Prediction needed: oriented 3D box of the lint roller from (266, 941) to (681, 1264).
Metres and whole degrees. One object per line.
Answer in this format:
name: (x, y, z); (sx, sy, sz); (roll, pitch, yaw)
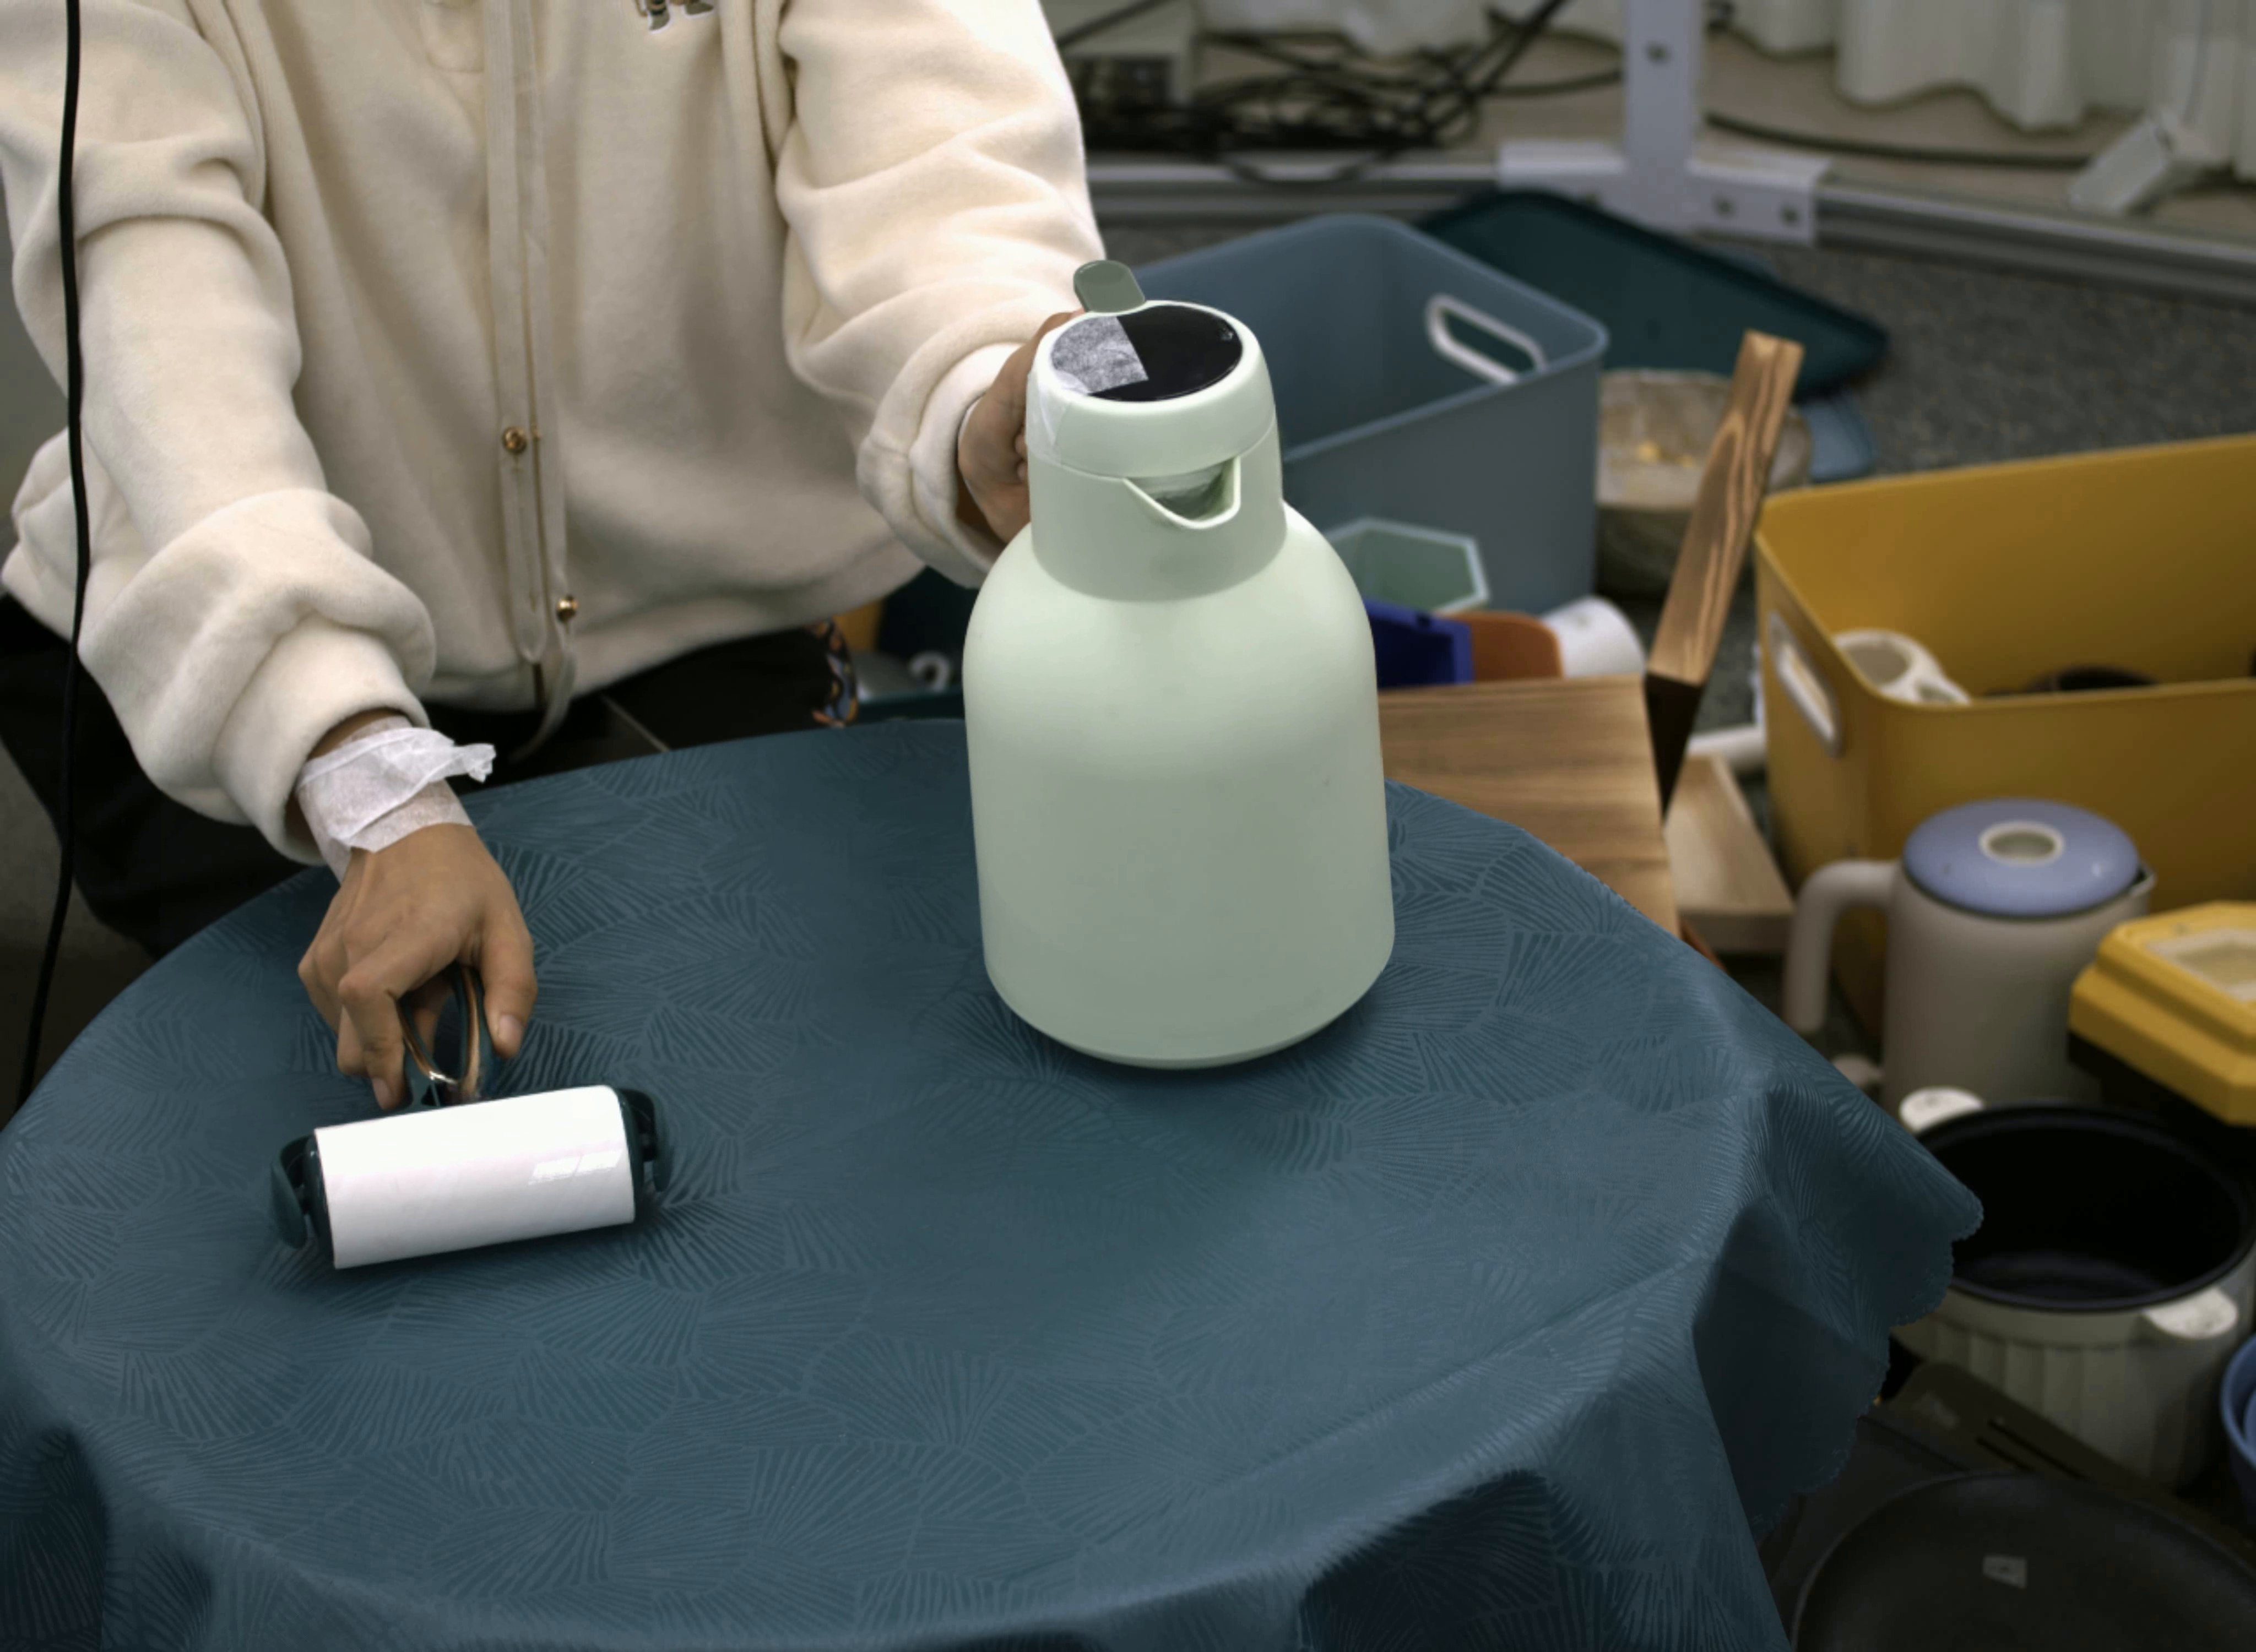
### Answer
lint roller: (-0.230, 0.077, 1.897); (0.134, 0.047, 0.183); (-7, 36, -11)

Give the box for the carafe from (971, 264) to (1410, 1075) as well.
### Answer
carafe: (0.013, -0.059, 1.927); (0.144, 0.254, 0.189); (-13, 30, -10)
